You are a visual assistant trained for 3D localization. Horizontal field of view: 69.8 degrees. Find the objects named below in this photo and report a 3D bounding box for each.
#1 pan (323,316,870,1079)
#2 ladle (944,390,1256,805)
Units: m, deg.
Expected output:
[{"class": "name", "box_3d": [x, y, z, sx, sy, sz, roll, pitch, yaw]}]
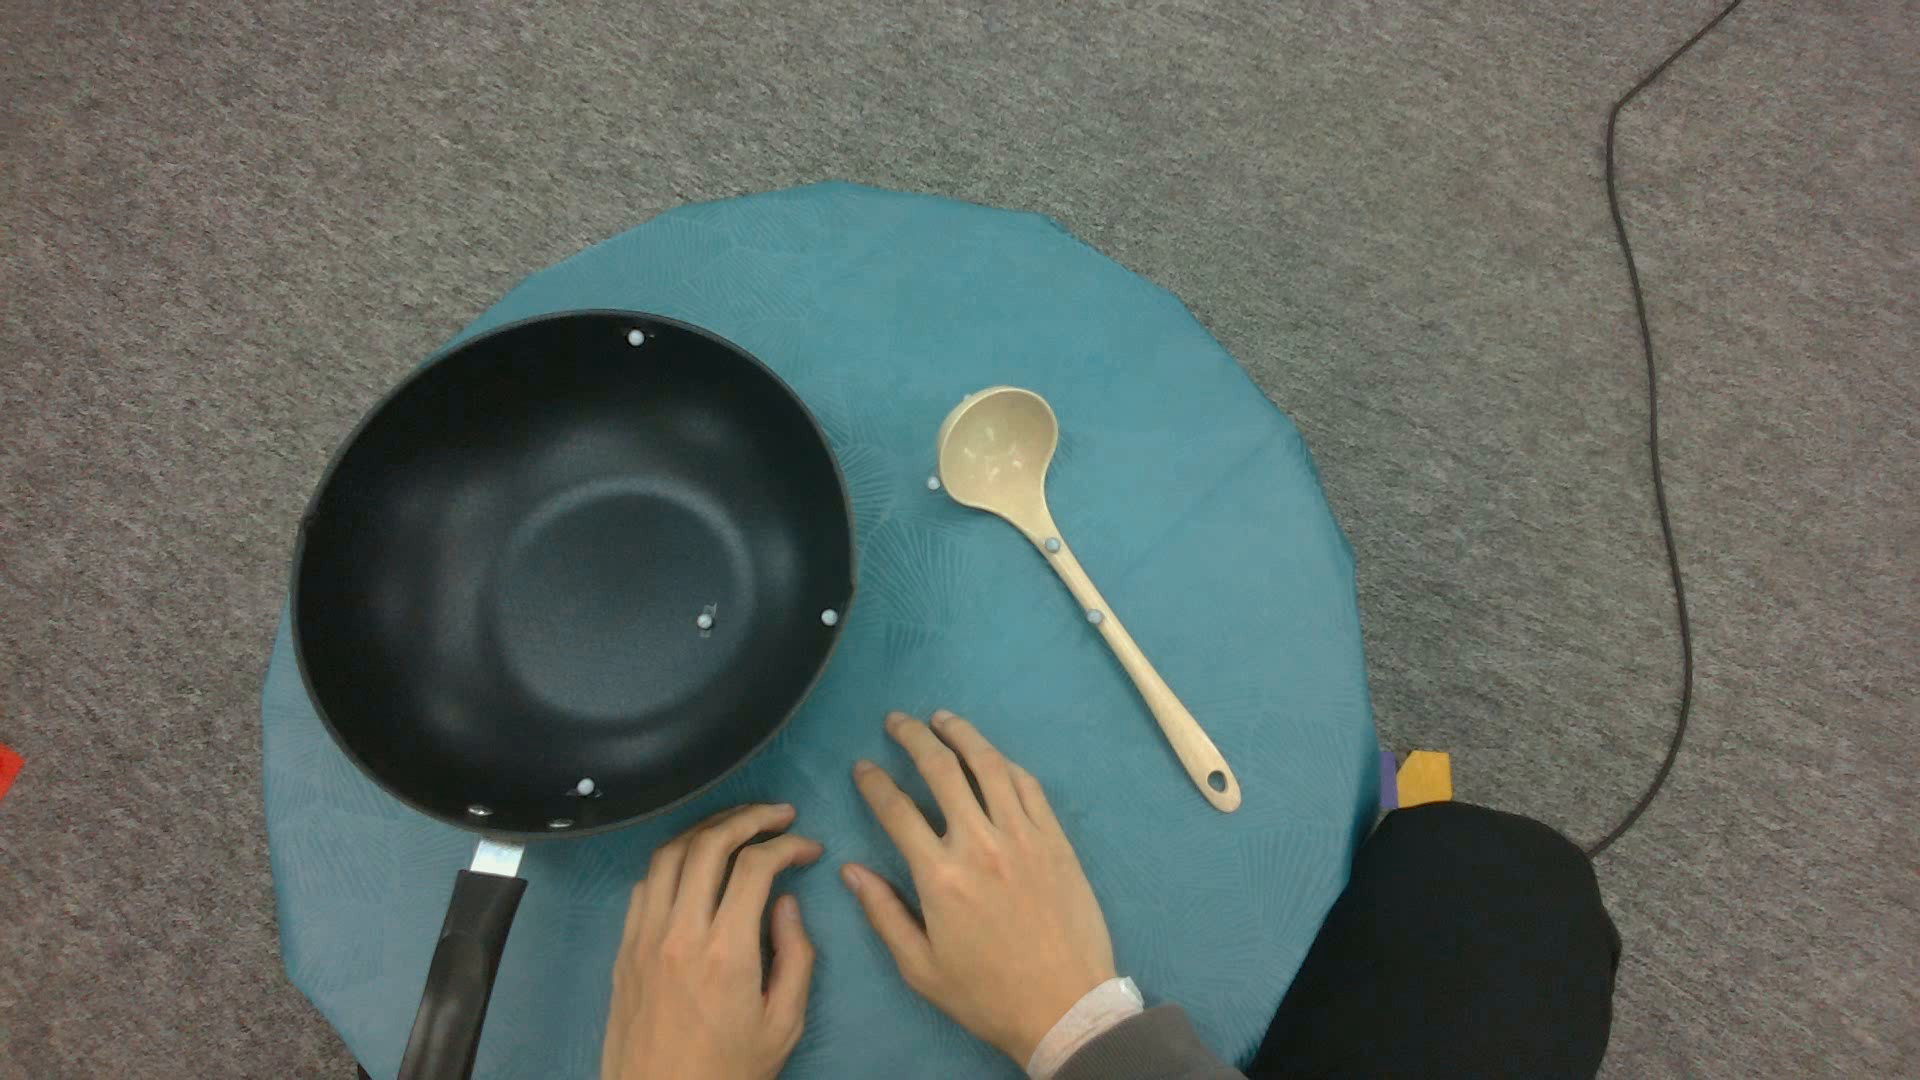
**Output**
[{"class": "pan", "box_3d": [-0.201, 0.108, 0.710, 0.288, 0.086, 0.464, 8, 71, 6]}, {"class": "ladle", "box_3d": [0.081, 0.027, 0.729, 0.072, 0.072, 0.255, -31, 70, -14]}]
